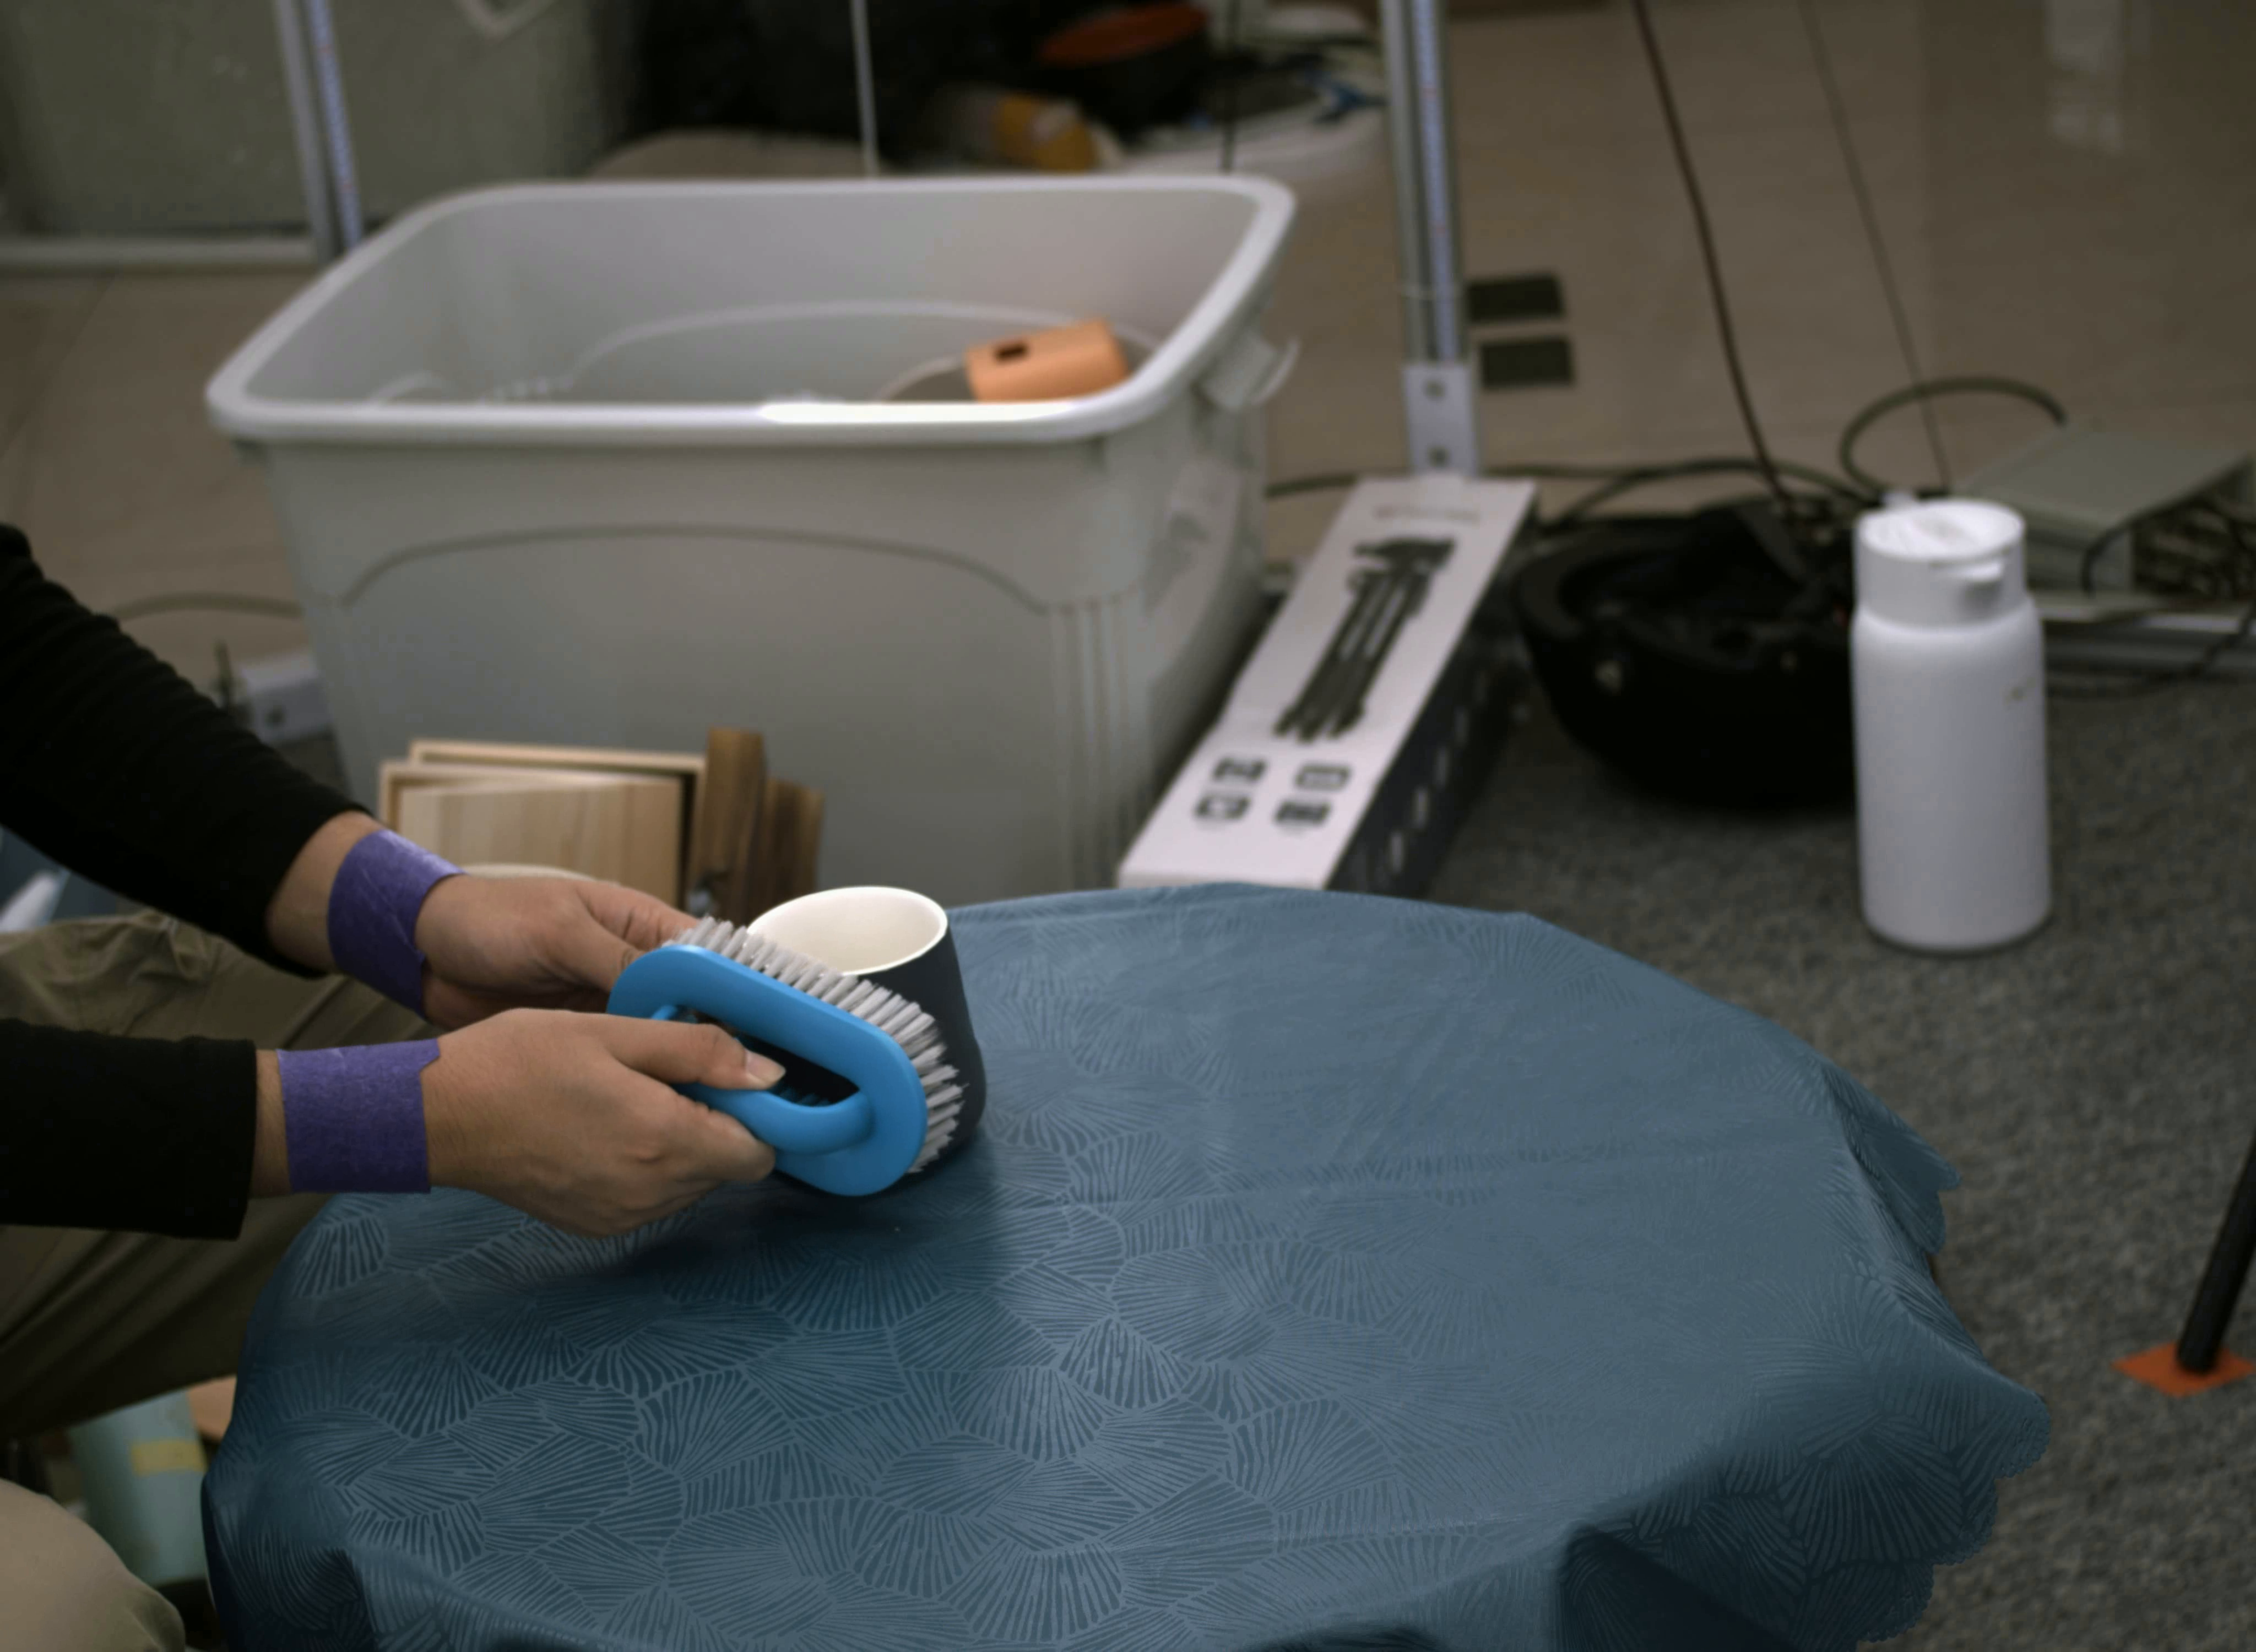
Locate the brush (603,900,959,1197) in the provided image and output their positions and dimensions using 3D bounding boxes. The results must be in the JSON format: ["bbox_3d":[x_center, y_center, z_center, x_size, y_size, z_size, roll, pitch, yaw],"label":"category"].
[{"bbox_3d":[-0.138,0.090,2.118,0.141,0.086,0.063,26,33,17],"label":"brush"}]

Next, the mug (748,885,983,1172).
[{"bbox_3d":[-0.119,0.078,2.193,0.123,0.091,0.092,4,27,18],"label":"mug"}]
